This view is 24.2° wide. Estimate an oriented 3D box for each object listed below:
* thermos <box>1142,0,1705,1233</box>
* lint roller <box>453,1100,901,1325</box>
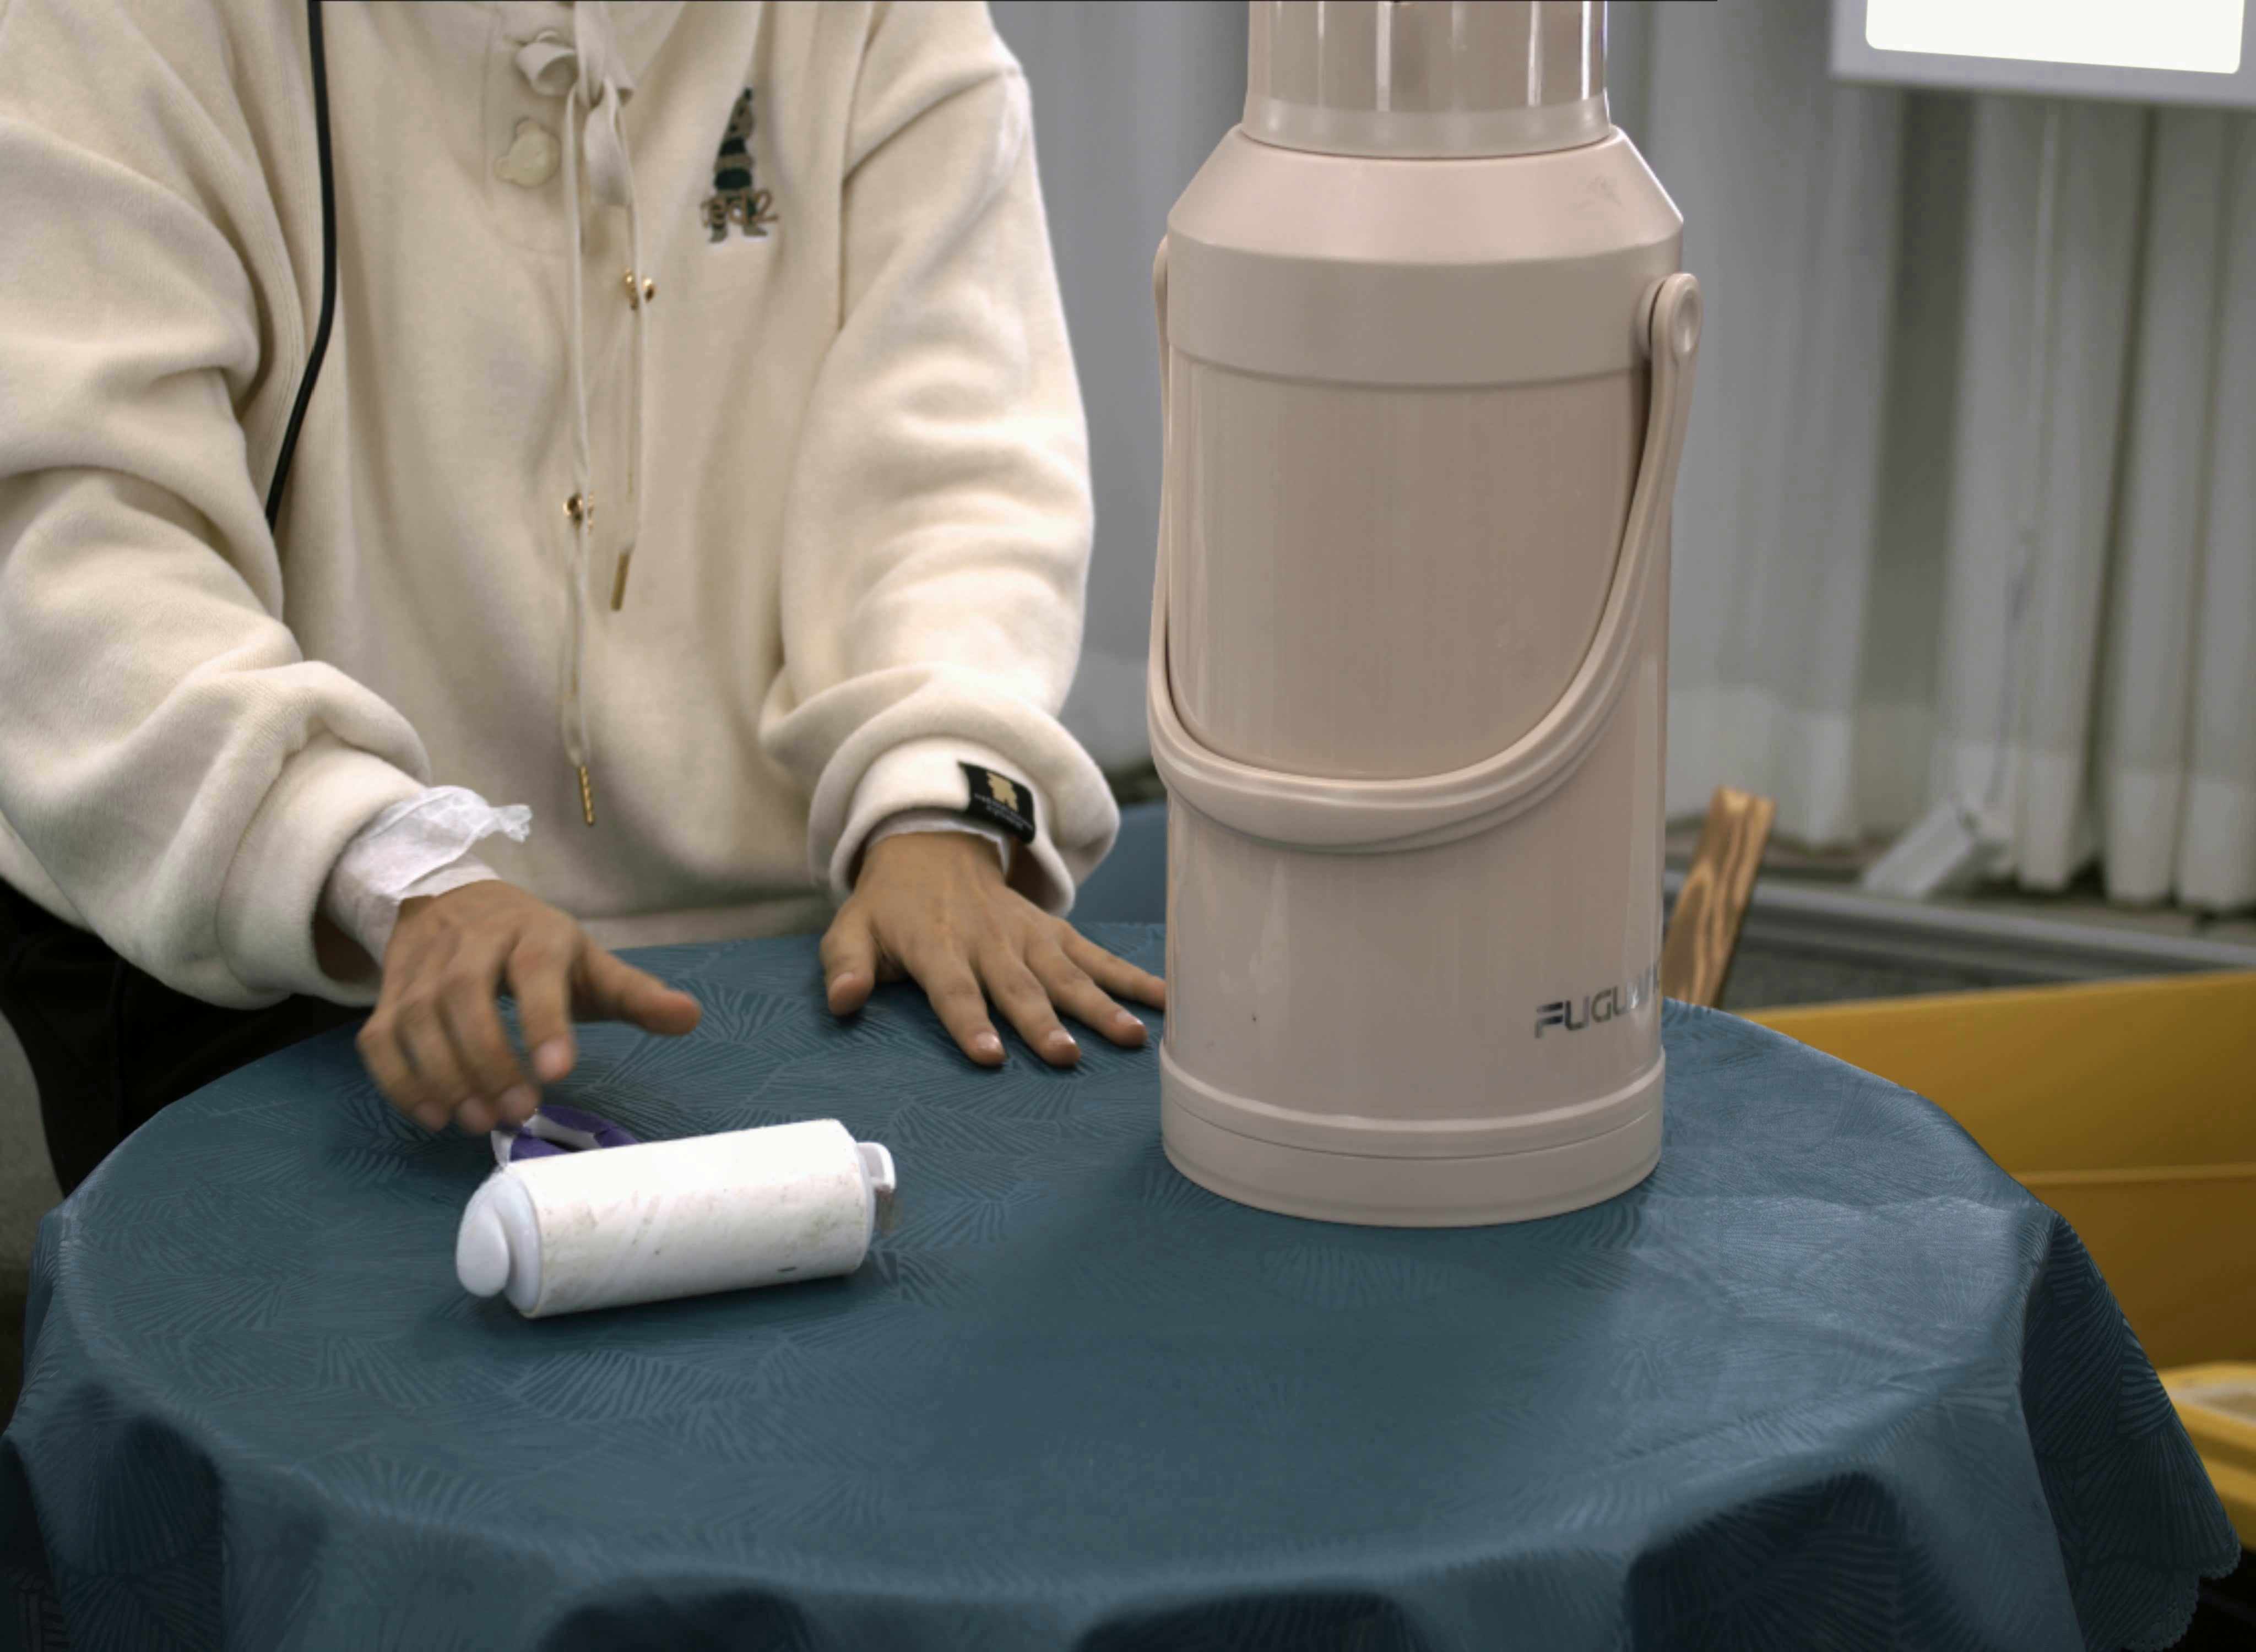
[{"bbox_3d":[0.097,-0.092,1.619,0.173,0.409,0.207,9,18,28],"label":"thermos"},{"bbox_3d":[-0.153,0.097,1.582,0.133,0.050,0.178,-7,19,-21],"label":"lint roller"}]
